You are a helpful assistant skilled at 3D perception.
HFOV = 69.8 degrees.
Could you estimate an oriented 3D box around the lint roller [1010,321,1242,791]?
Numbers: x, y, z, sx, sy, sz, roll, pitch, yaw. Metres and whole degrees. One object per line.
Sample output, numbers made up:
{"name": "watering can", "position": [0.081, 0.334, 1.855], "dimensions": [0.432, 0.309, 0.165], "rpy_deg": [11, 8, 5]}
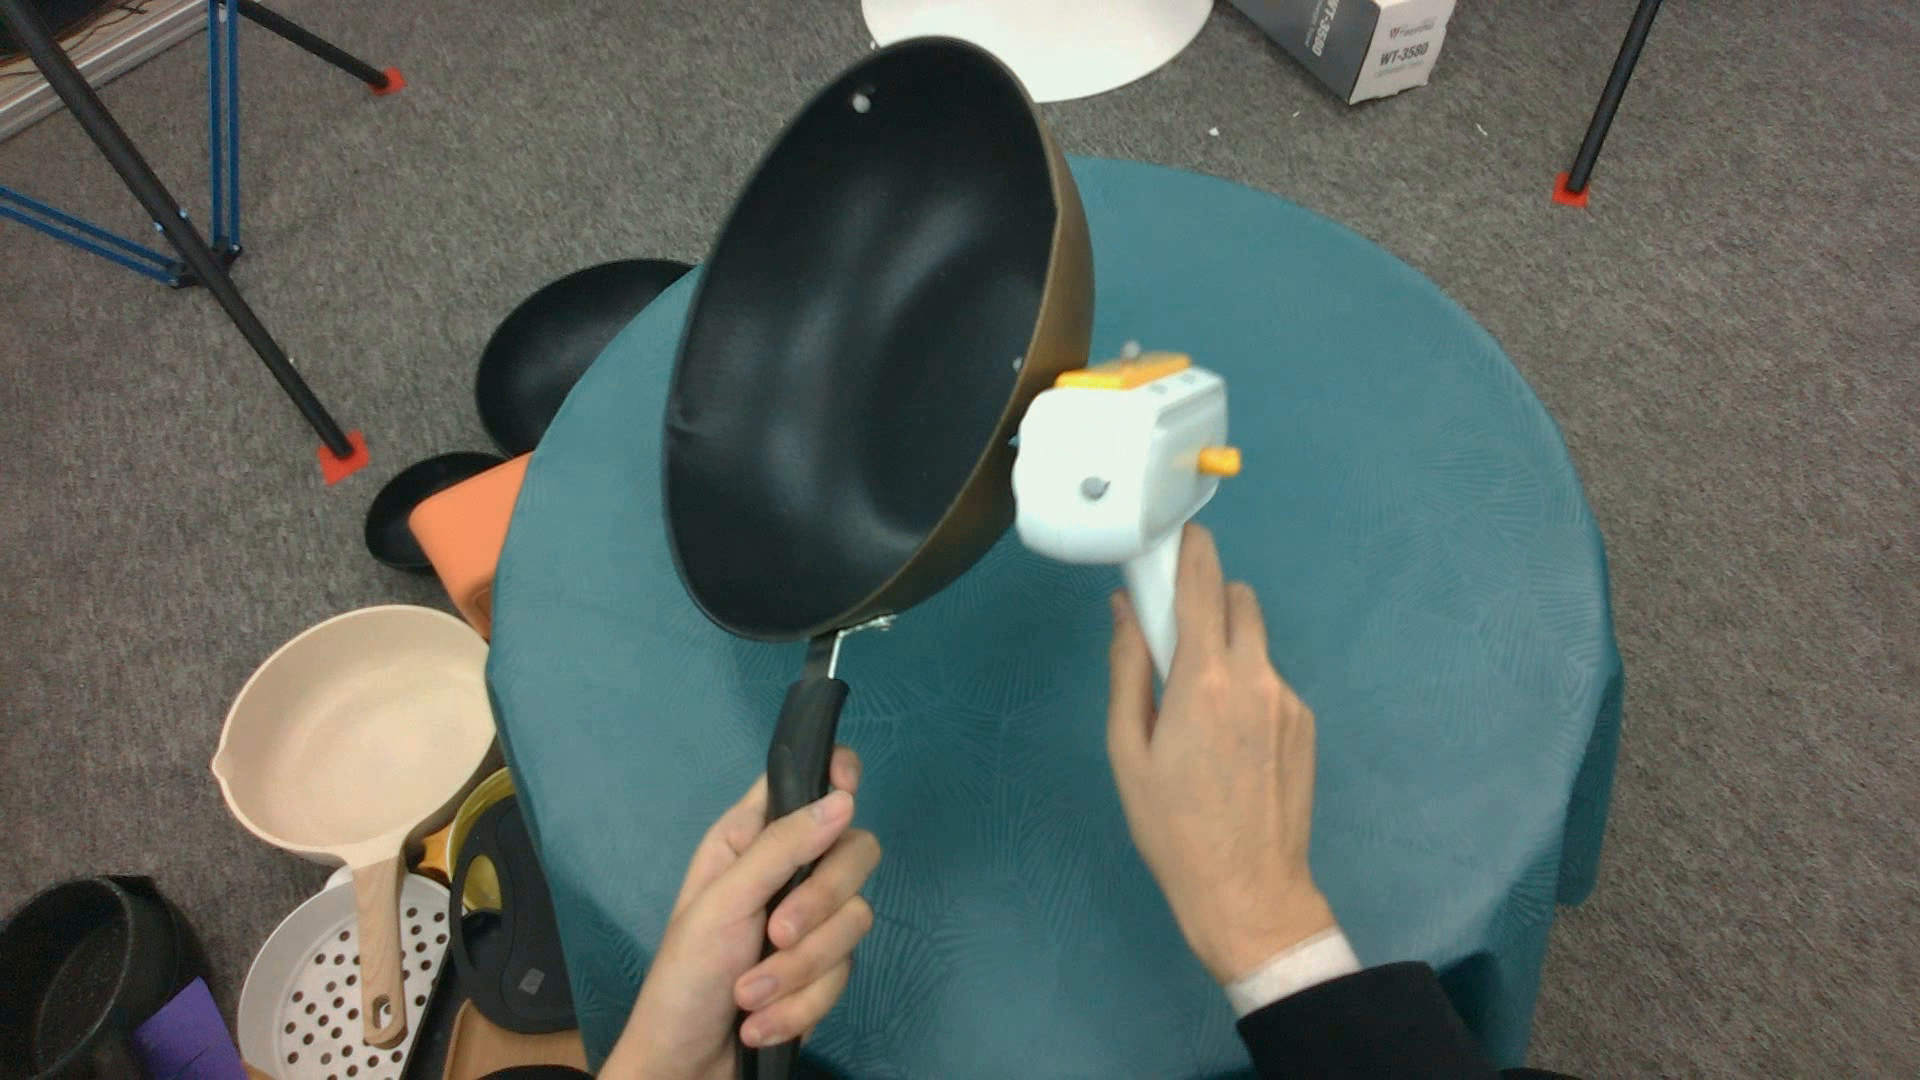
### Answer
{"name": "lint roller", "position": [0.079, 0.012, 0.567], "dimensions": [0.074, 0.192, 0.193], "rpy_deg": [-4, 14, 16]}

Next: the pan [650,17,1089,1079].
{"name": "pan", "position": [-0.041, -0.003, 0.608], "dimensions": [0.287, 0.087, 0.464], "rpy_deg": [-16, 64, 45]}
